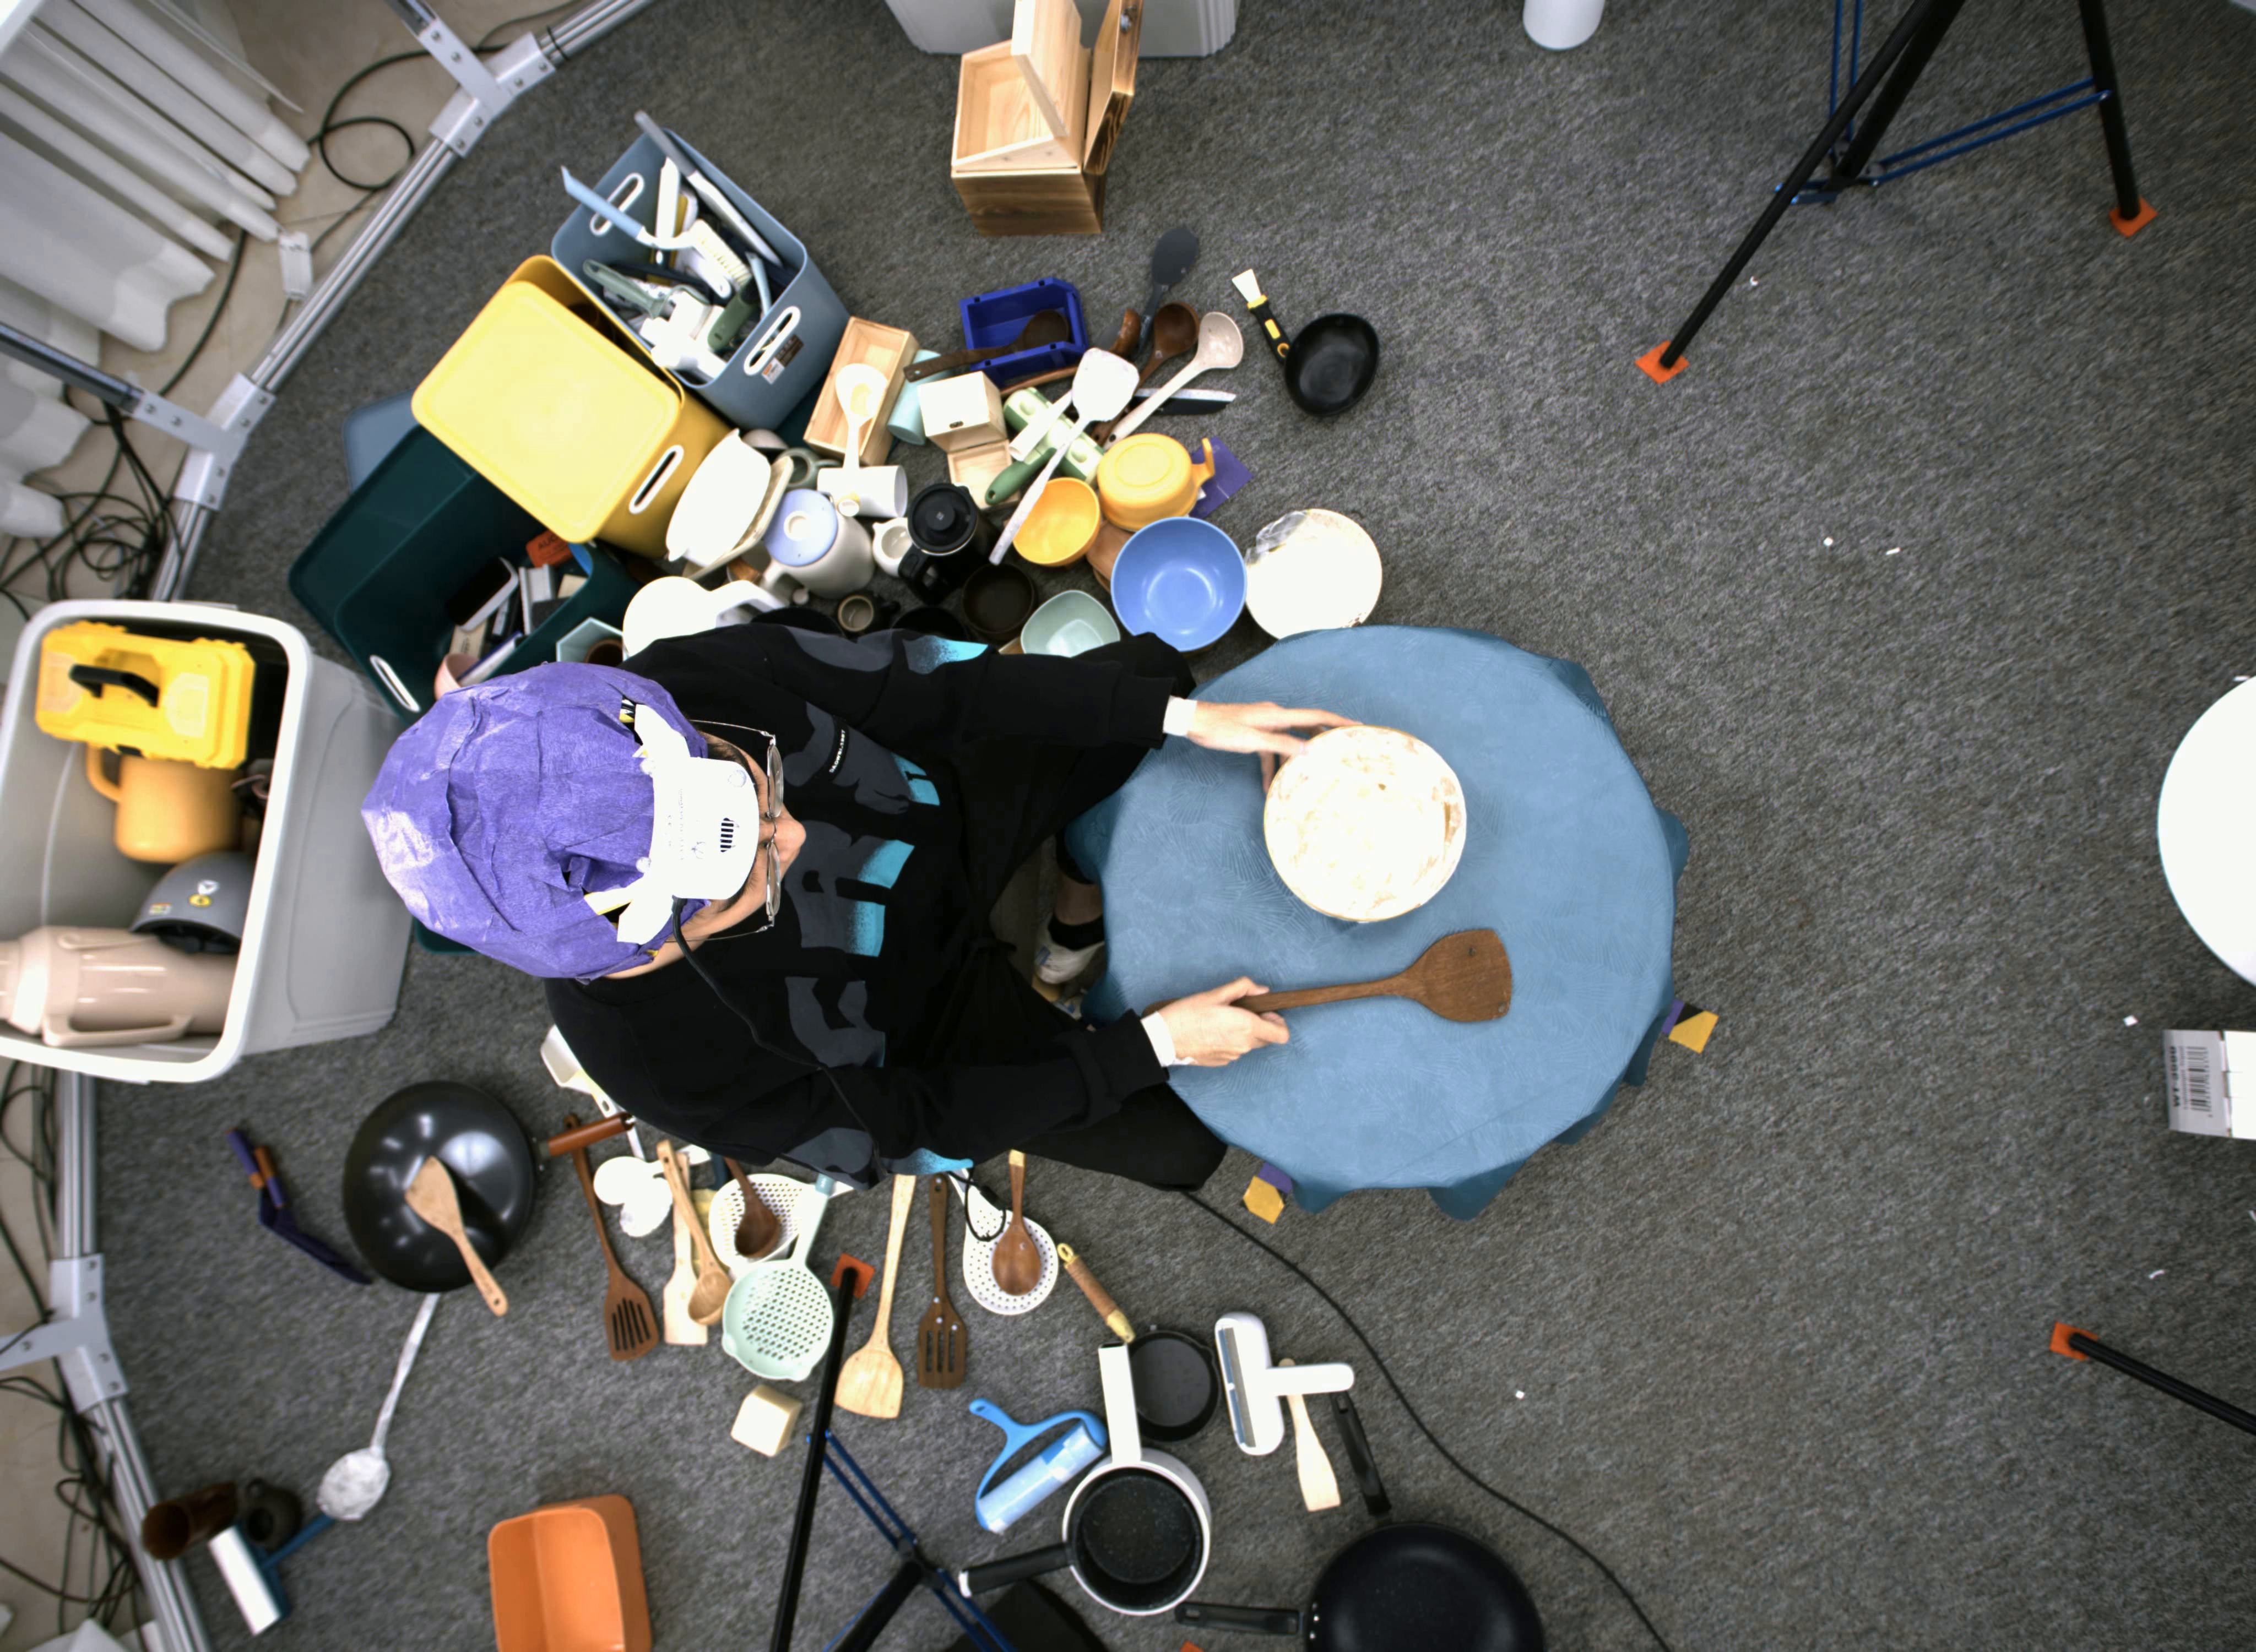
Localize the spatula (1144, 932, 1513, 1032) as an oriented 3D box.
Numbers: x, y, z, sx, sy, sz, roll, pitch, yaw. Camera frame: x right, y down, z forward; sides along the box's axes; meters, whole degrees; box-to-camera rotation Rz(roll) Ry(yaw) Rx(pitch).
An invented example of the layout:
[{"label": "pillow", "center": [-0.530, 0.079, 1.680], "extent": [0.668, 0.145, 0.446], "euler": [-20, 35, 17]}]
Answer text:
[{"label": "spatula", "center": [0.209, 0.178, 1.446], "extent": [0.387, 0.016, 0.095], "euler": [-8, 84, 3]}]

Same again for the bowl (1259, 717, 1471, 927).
[{"label": "bowl", "center": [0.244, -0.001, 1.427], "extent": [0.215, 0.094, 0.214], "euler": [-1, 87, 11]}]
